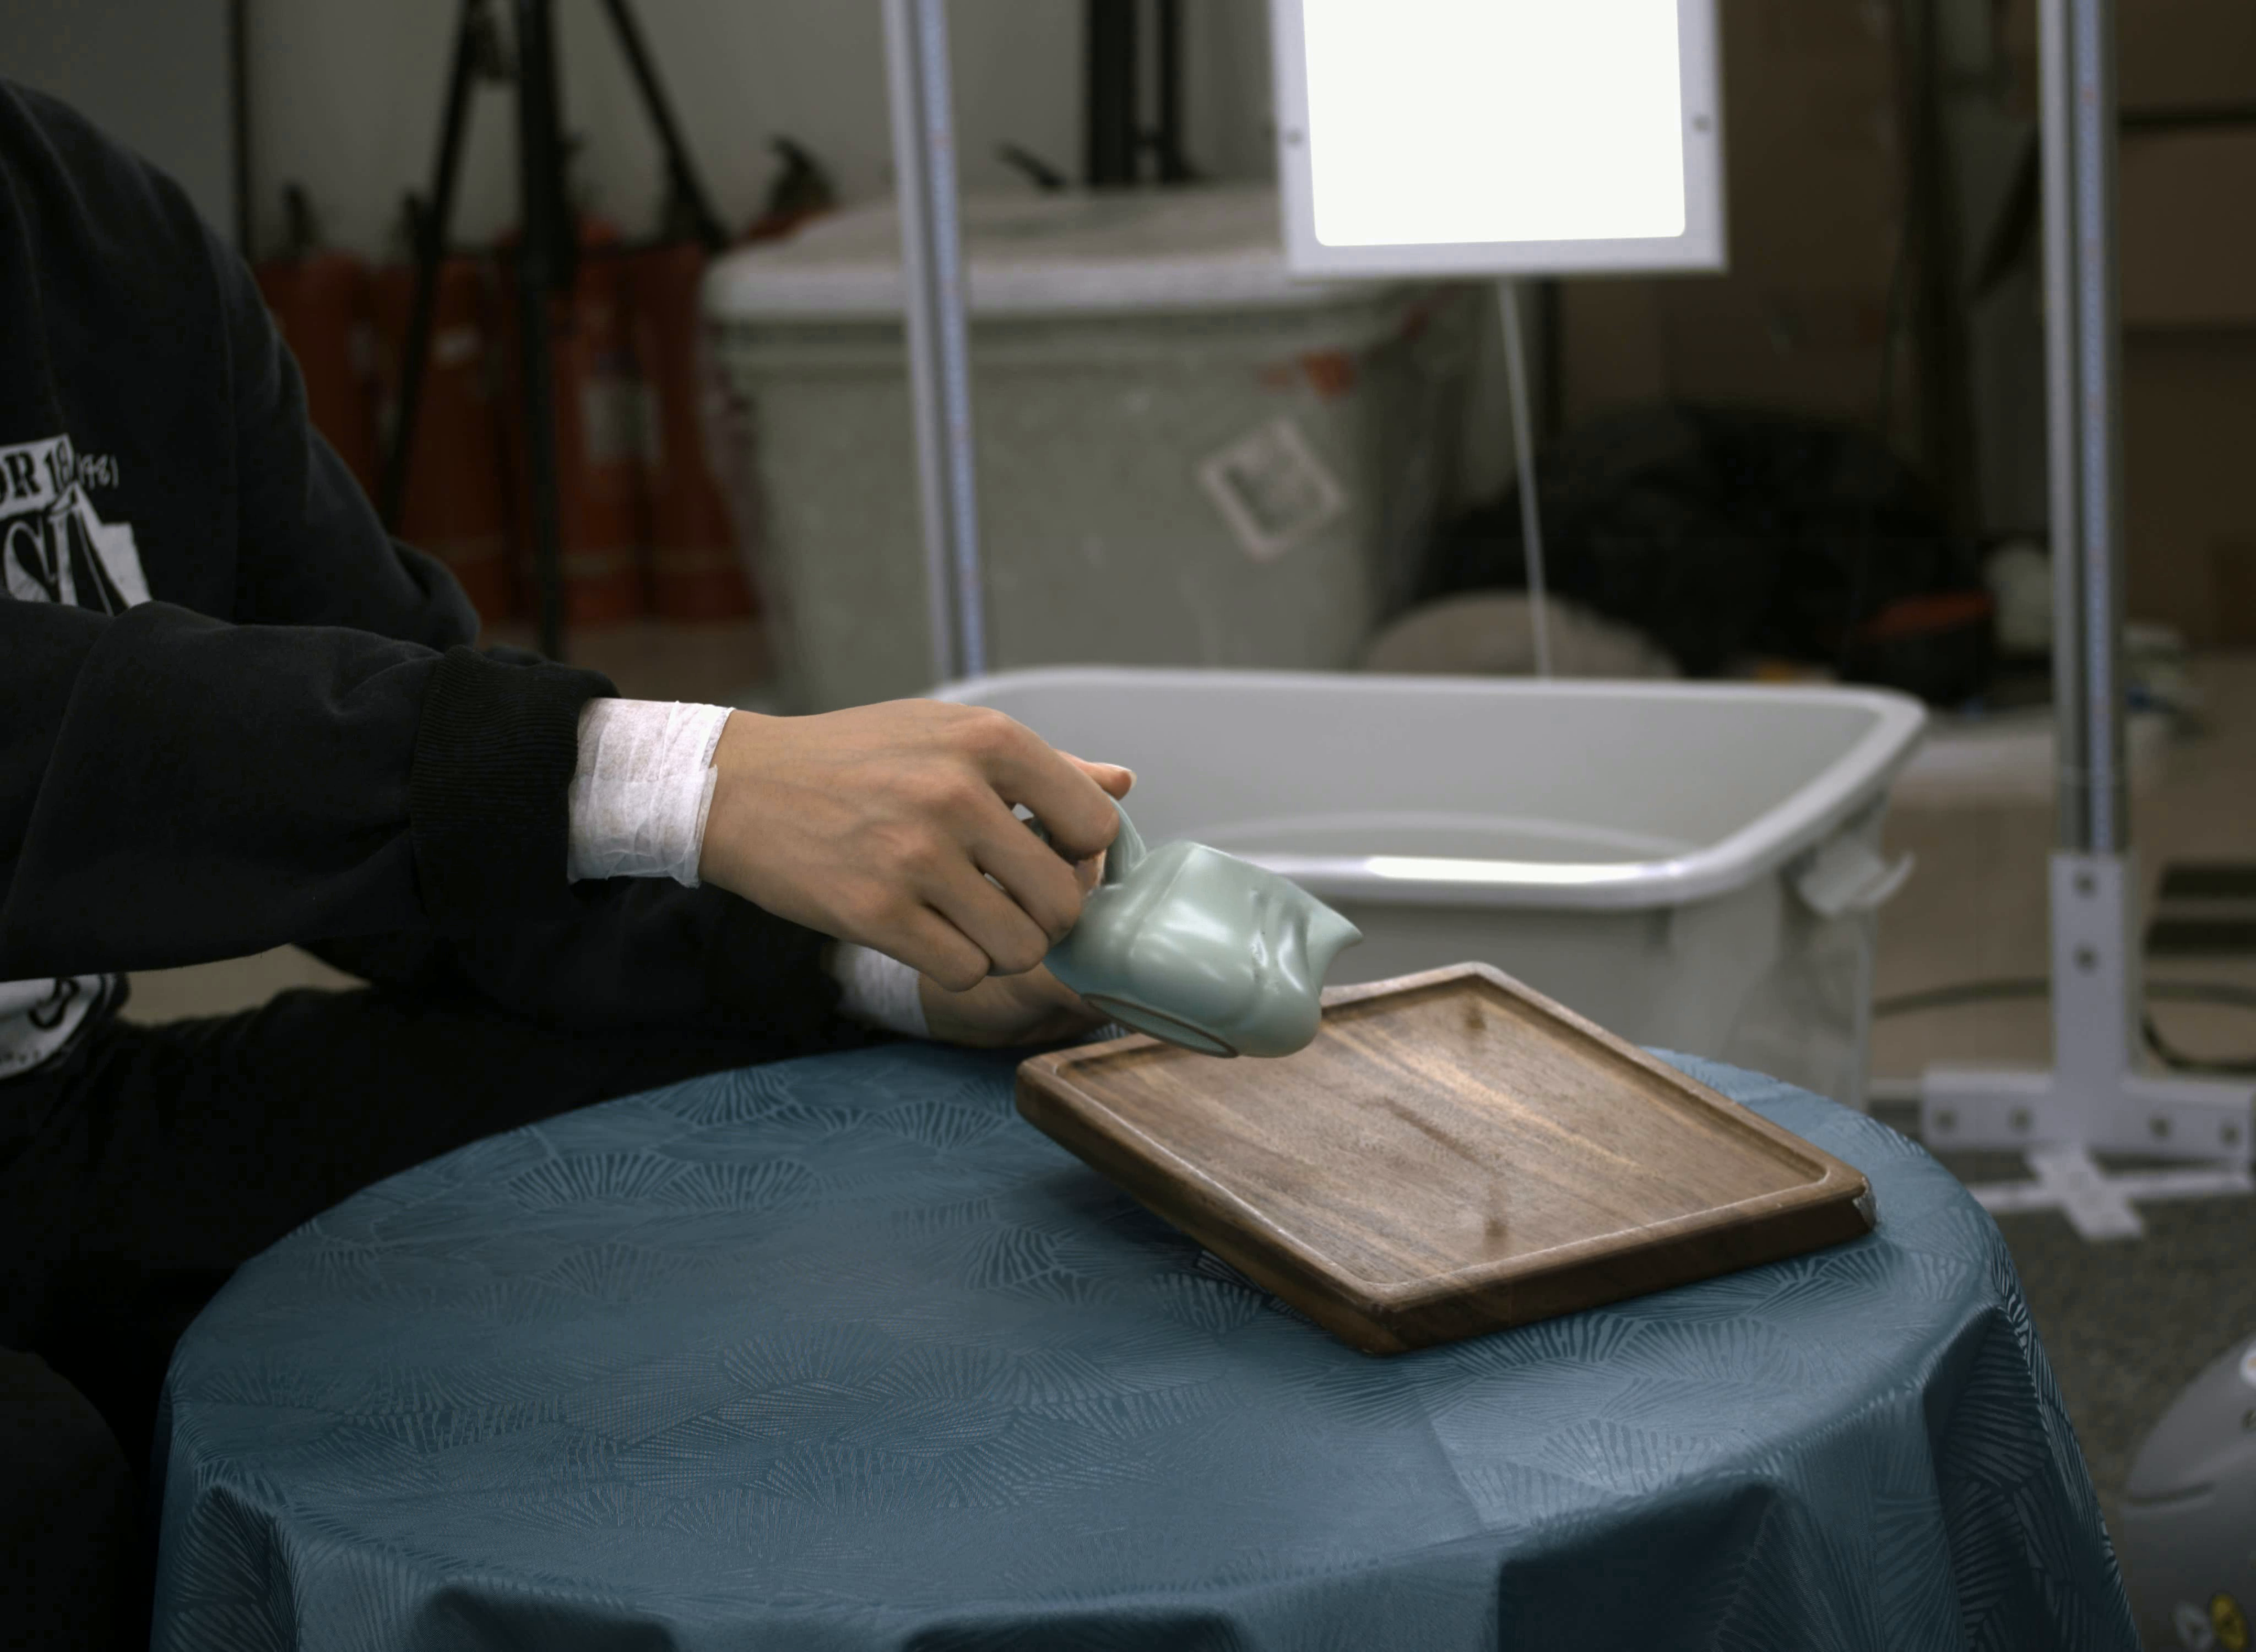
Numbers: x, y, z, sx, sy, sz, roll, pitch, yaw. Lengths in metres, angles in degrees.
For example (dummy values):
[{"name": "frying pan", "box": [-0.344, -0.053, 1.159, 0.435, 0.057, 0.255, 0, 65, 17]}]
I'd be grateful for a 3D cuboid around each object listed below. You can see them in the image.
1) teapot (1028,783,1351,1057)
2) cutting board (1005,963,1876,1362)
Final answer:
[{"name": "teapot", "box": [0.016, 0.035, 1.763, 0.134, 0.061, 0.098, 28, -10, -35]}, {"name": "cutting board", "box": [0.077, 0.094, 1.888, 0.197, 0.023, 0.358, -12, 21, -26]}]
